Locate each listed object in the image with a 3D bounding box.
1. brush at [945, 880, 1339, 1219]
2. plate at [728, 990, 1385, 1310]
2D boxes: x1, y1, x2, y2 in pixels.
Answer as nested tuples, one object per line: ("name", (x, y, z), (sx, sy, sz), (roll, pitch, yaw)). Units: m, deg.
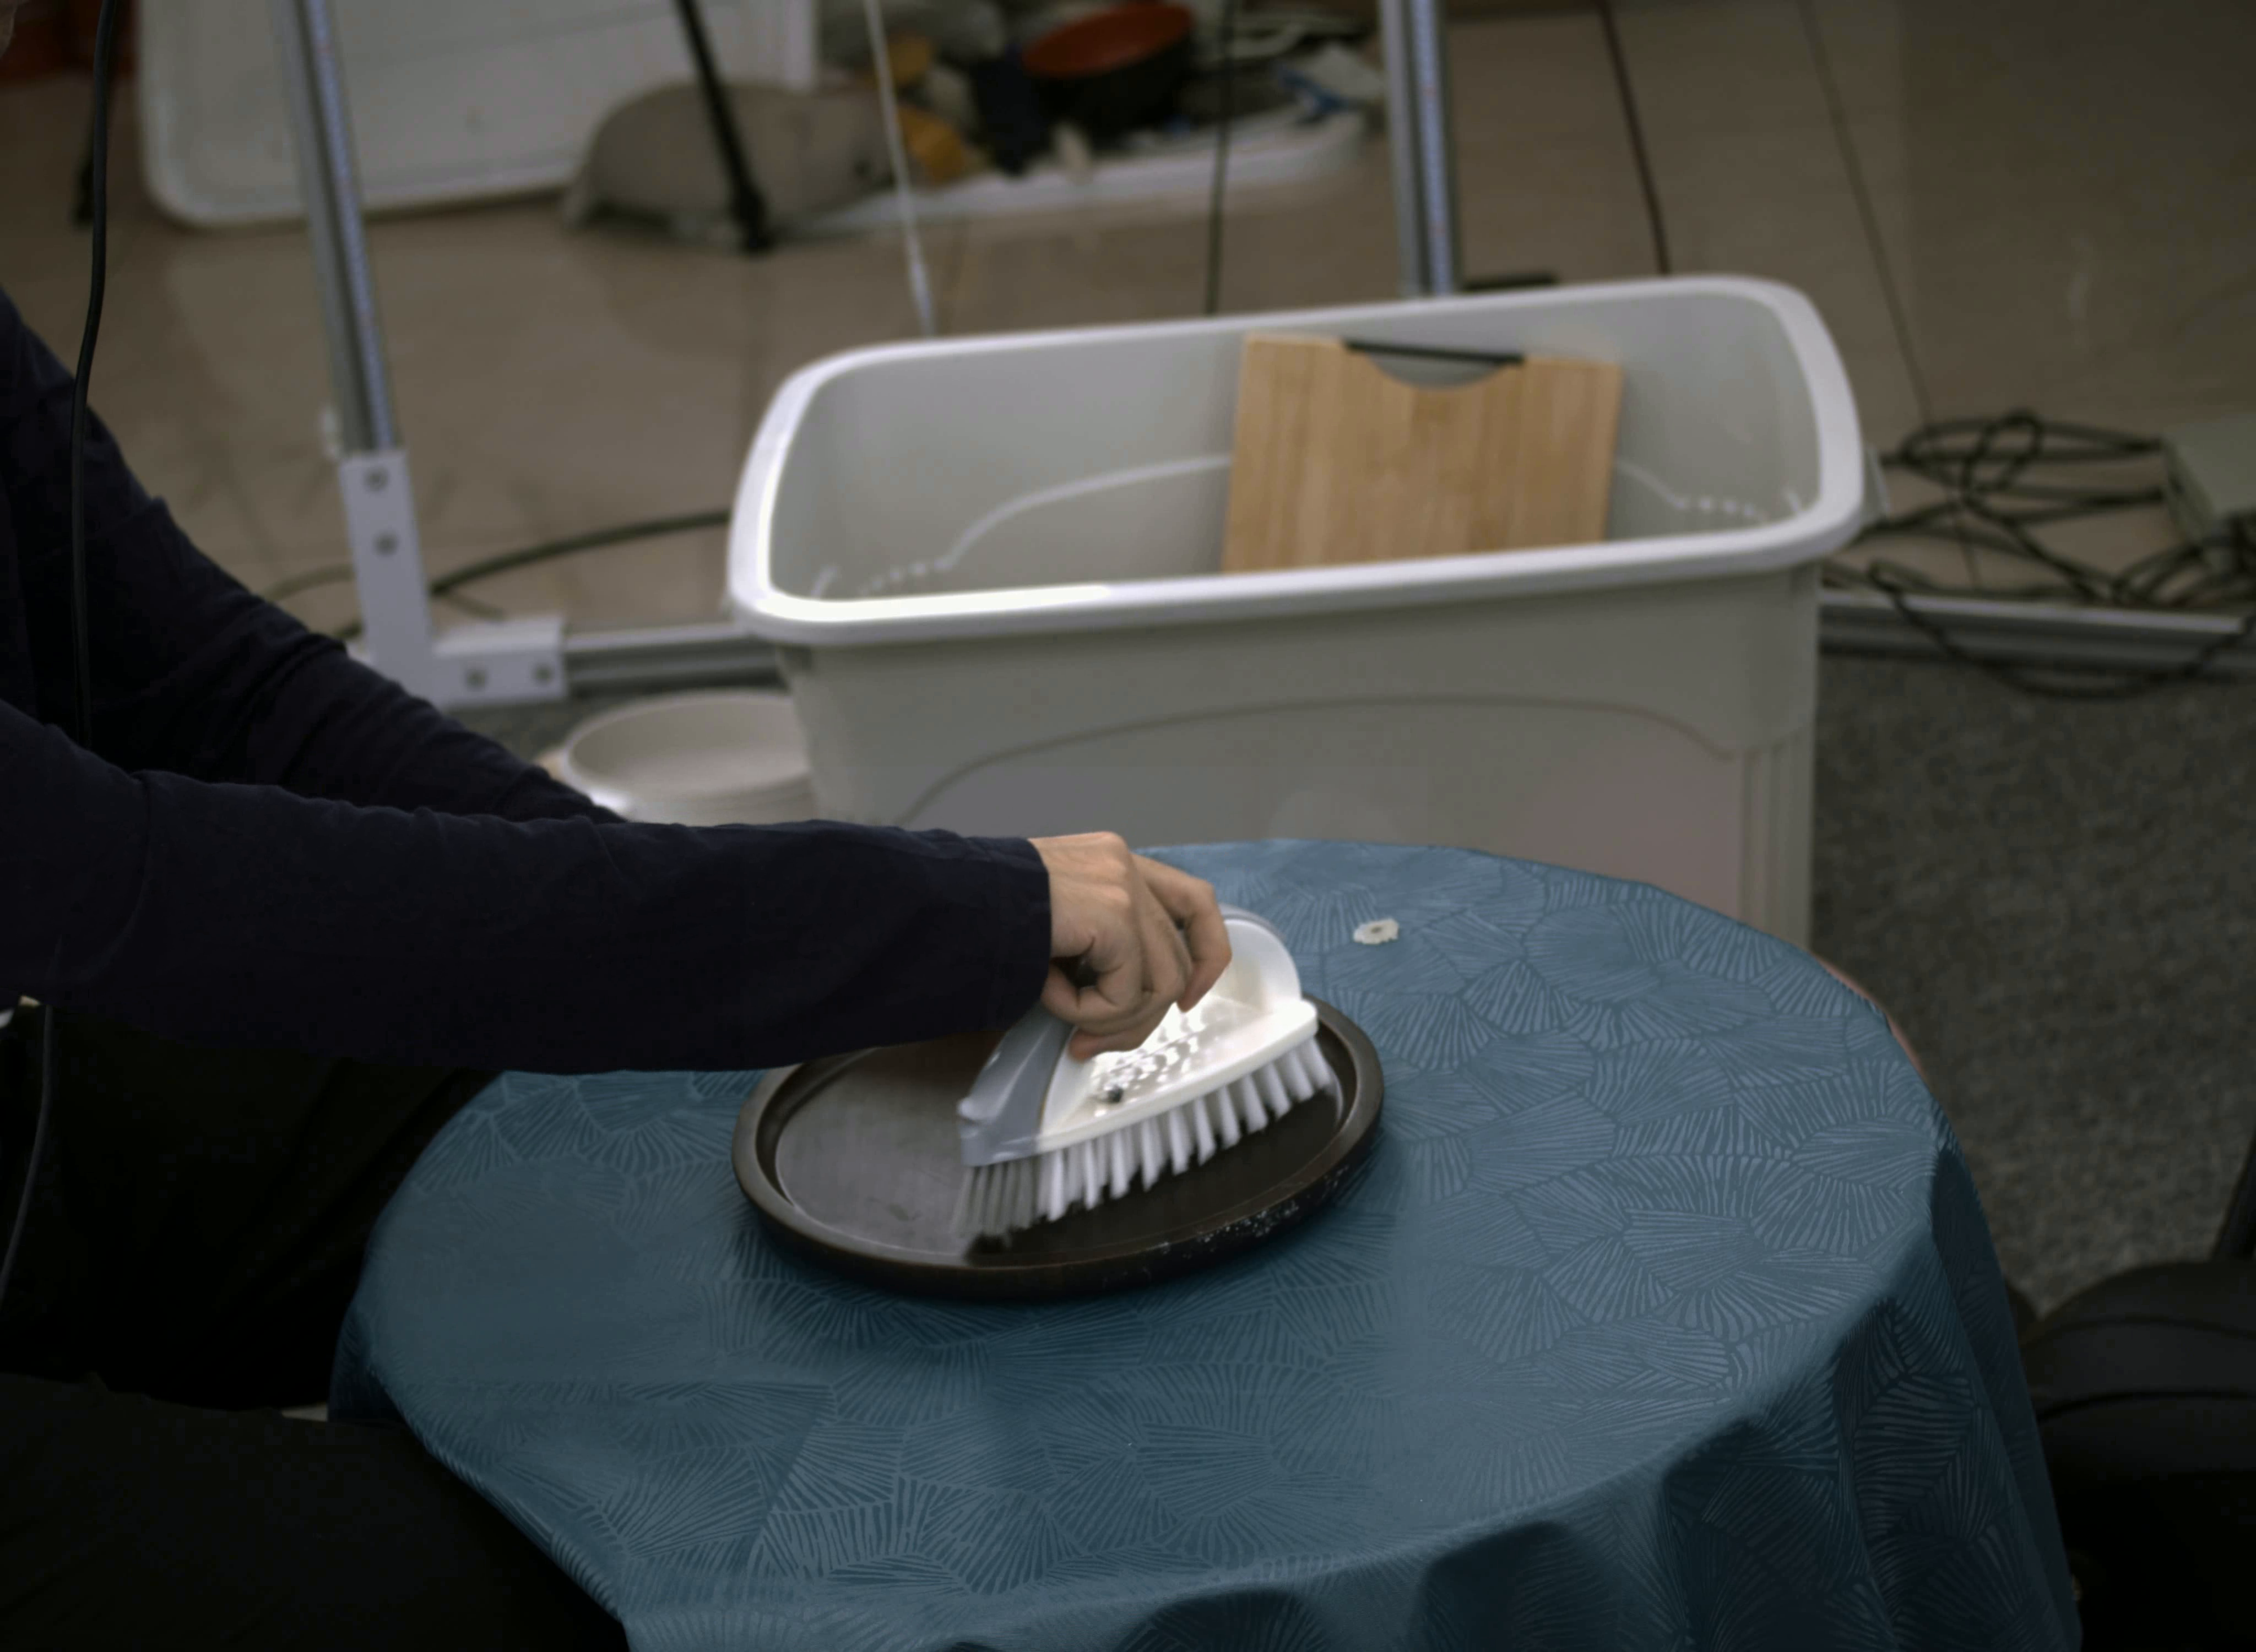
("brush", (-0.003, 0.078, 2.117), (0.174, 0.096, 0.061), (-24, 32, -32))
("plate", (-0.027, 0.121, 2.174), (0.254, 0.029, 0.251), (-5, 25, 2))
